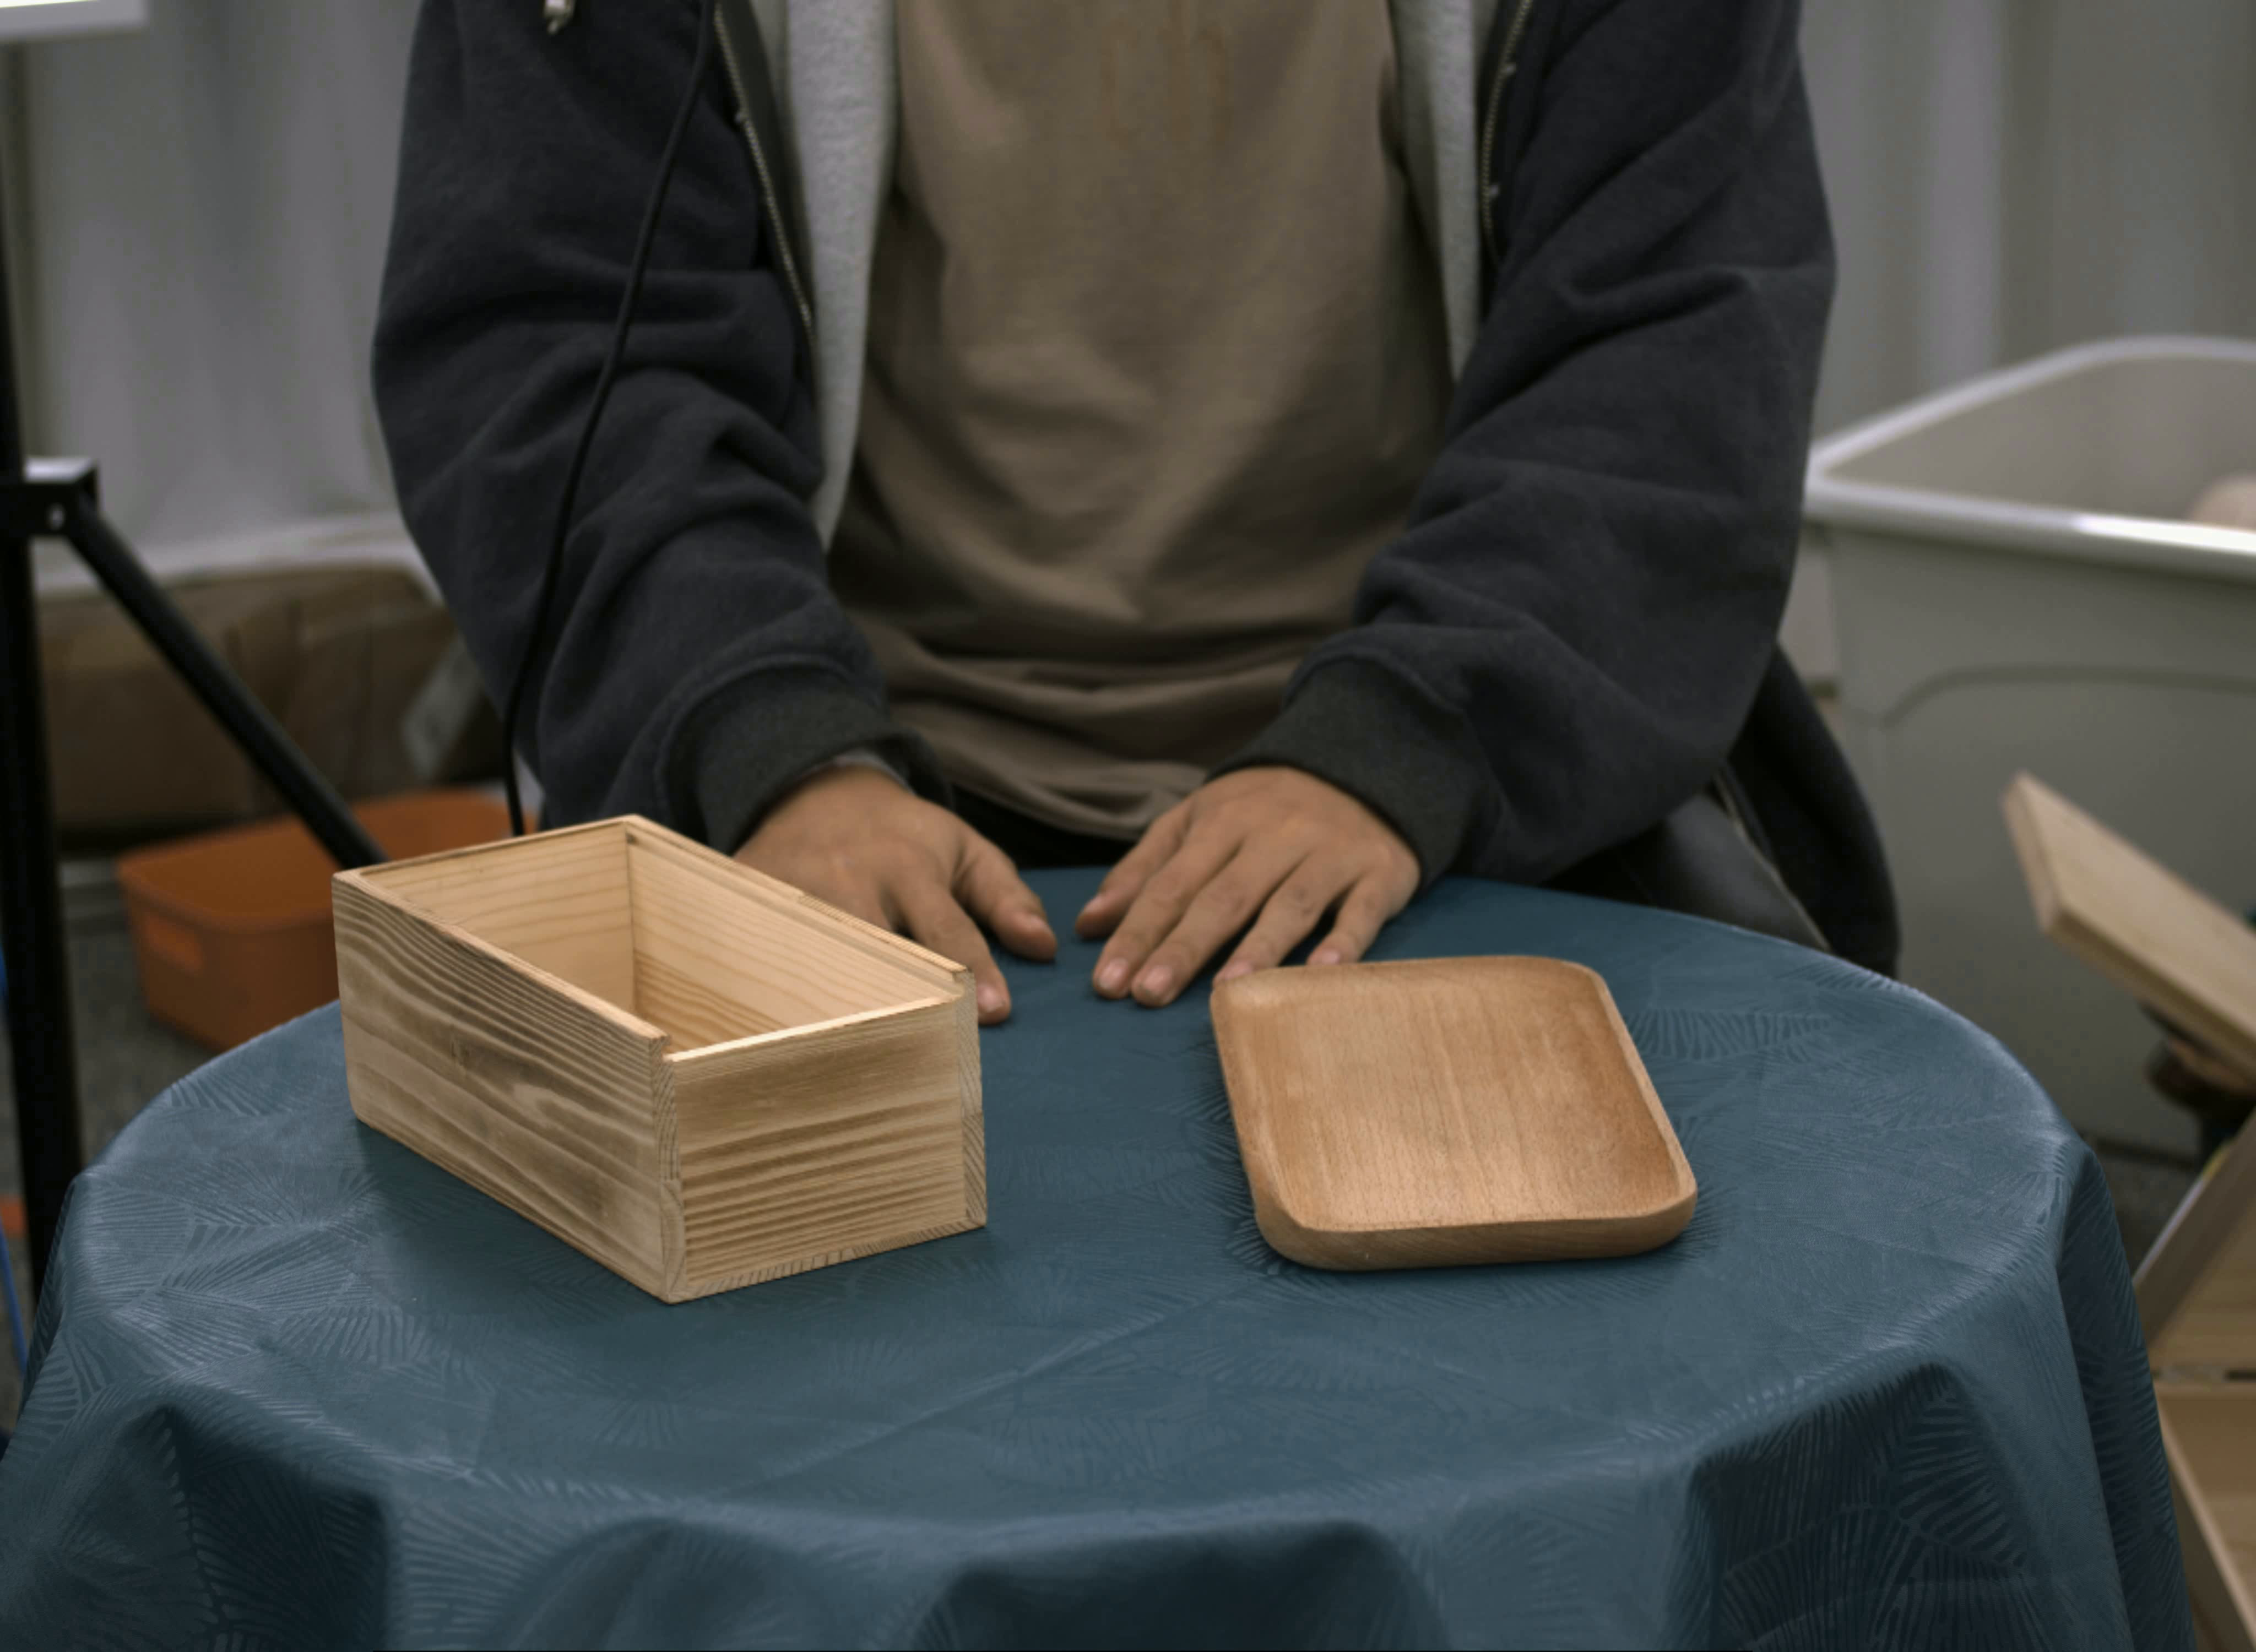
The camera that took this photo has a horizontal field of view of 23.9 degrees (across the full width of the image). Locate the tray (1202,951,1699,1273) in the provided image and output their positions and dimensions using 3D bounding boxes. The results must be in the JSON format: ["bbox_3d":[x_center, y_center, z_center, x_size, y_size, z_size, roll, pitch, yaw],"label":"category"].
[{"bbox_3d":[0.093,0.084,1.598,0.130,0.023,0.252,-1,15,-2],"label":"tray"}]

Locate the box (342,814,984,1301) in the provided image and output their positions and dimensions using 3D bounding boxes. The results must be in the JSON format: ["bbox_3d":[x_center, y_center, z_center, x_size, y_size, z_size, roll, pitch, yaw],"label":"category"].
[{"bbox_3d":[-0.142,0.065,1.591,0.105,0.080,0.216,-11,18,-30],"label":"box"}]
